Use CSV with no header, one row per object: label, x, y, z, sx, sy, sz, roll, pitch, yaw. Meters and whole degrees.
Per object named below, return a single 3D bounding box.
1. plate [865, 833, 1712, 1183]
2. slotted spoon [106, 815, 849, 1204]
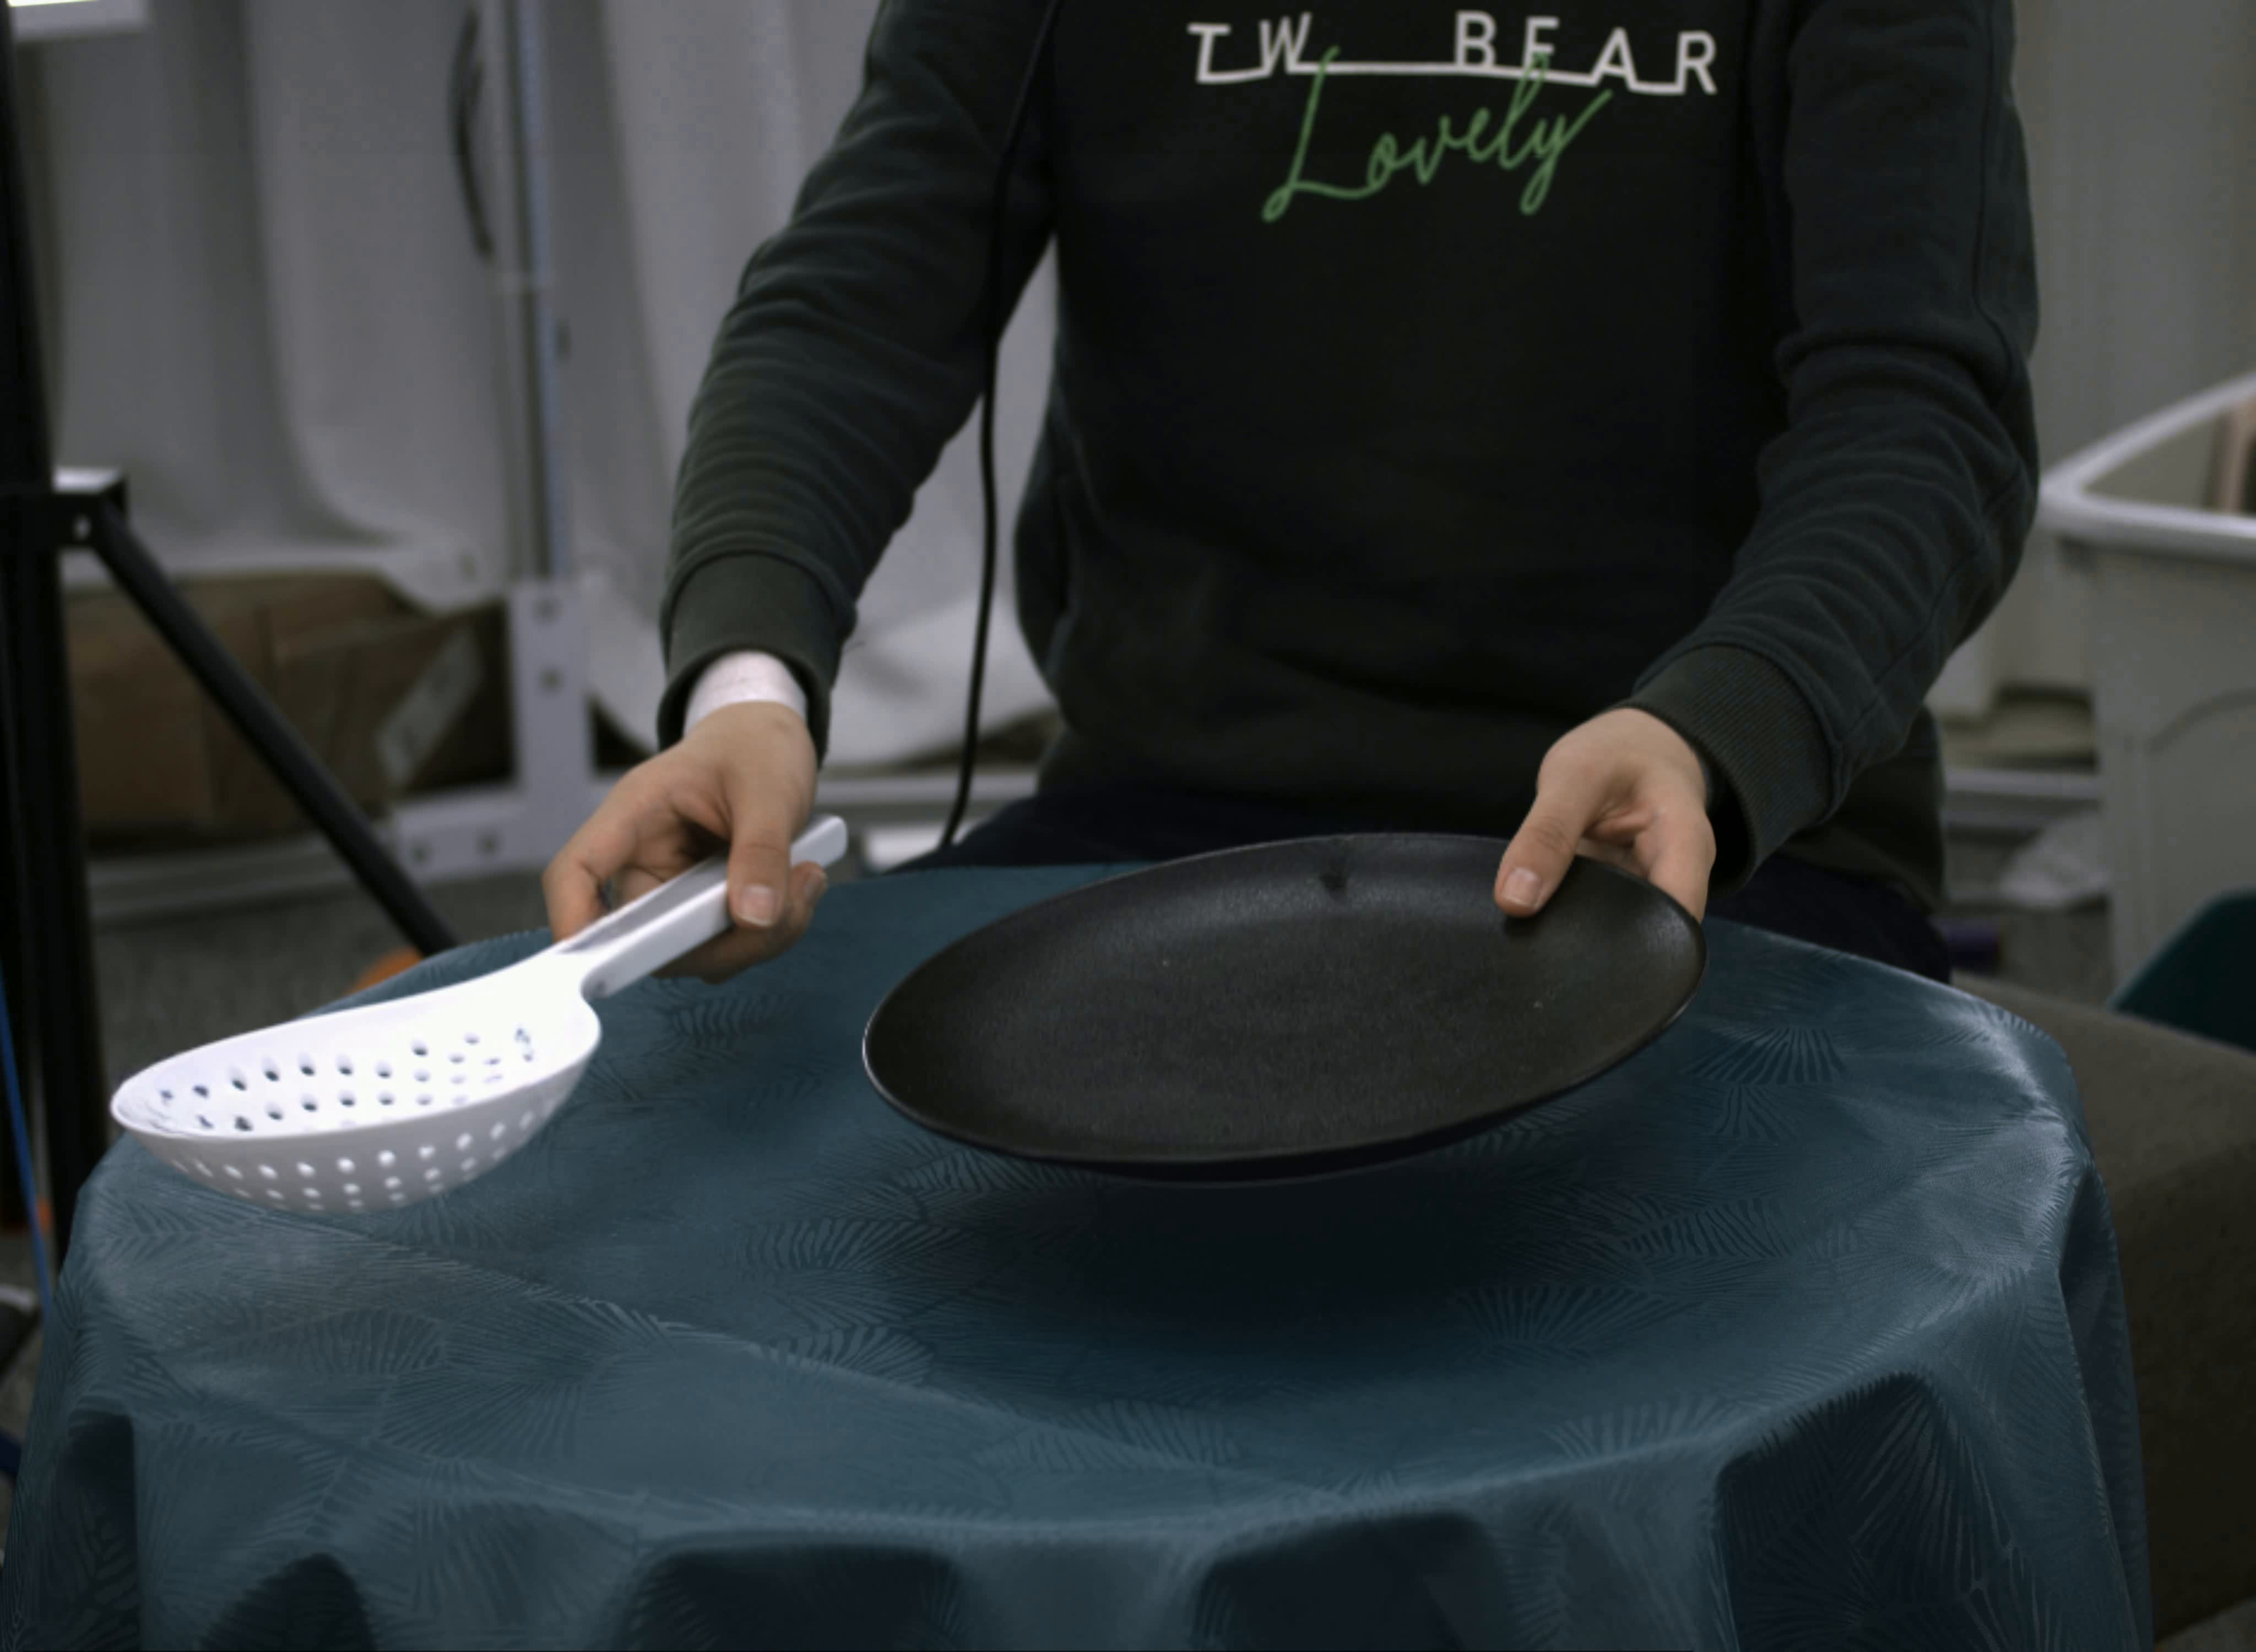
plate,0.046,0.054,1.517,0.243,0.023,0.246,-8,19,1
slotted spoon,-0.172,0.045,1.579,0.138,0.045,0.345,-2,18,25
